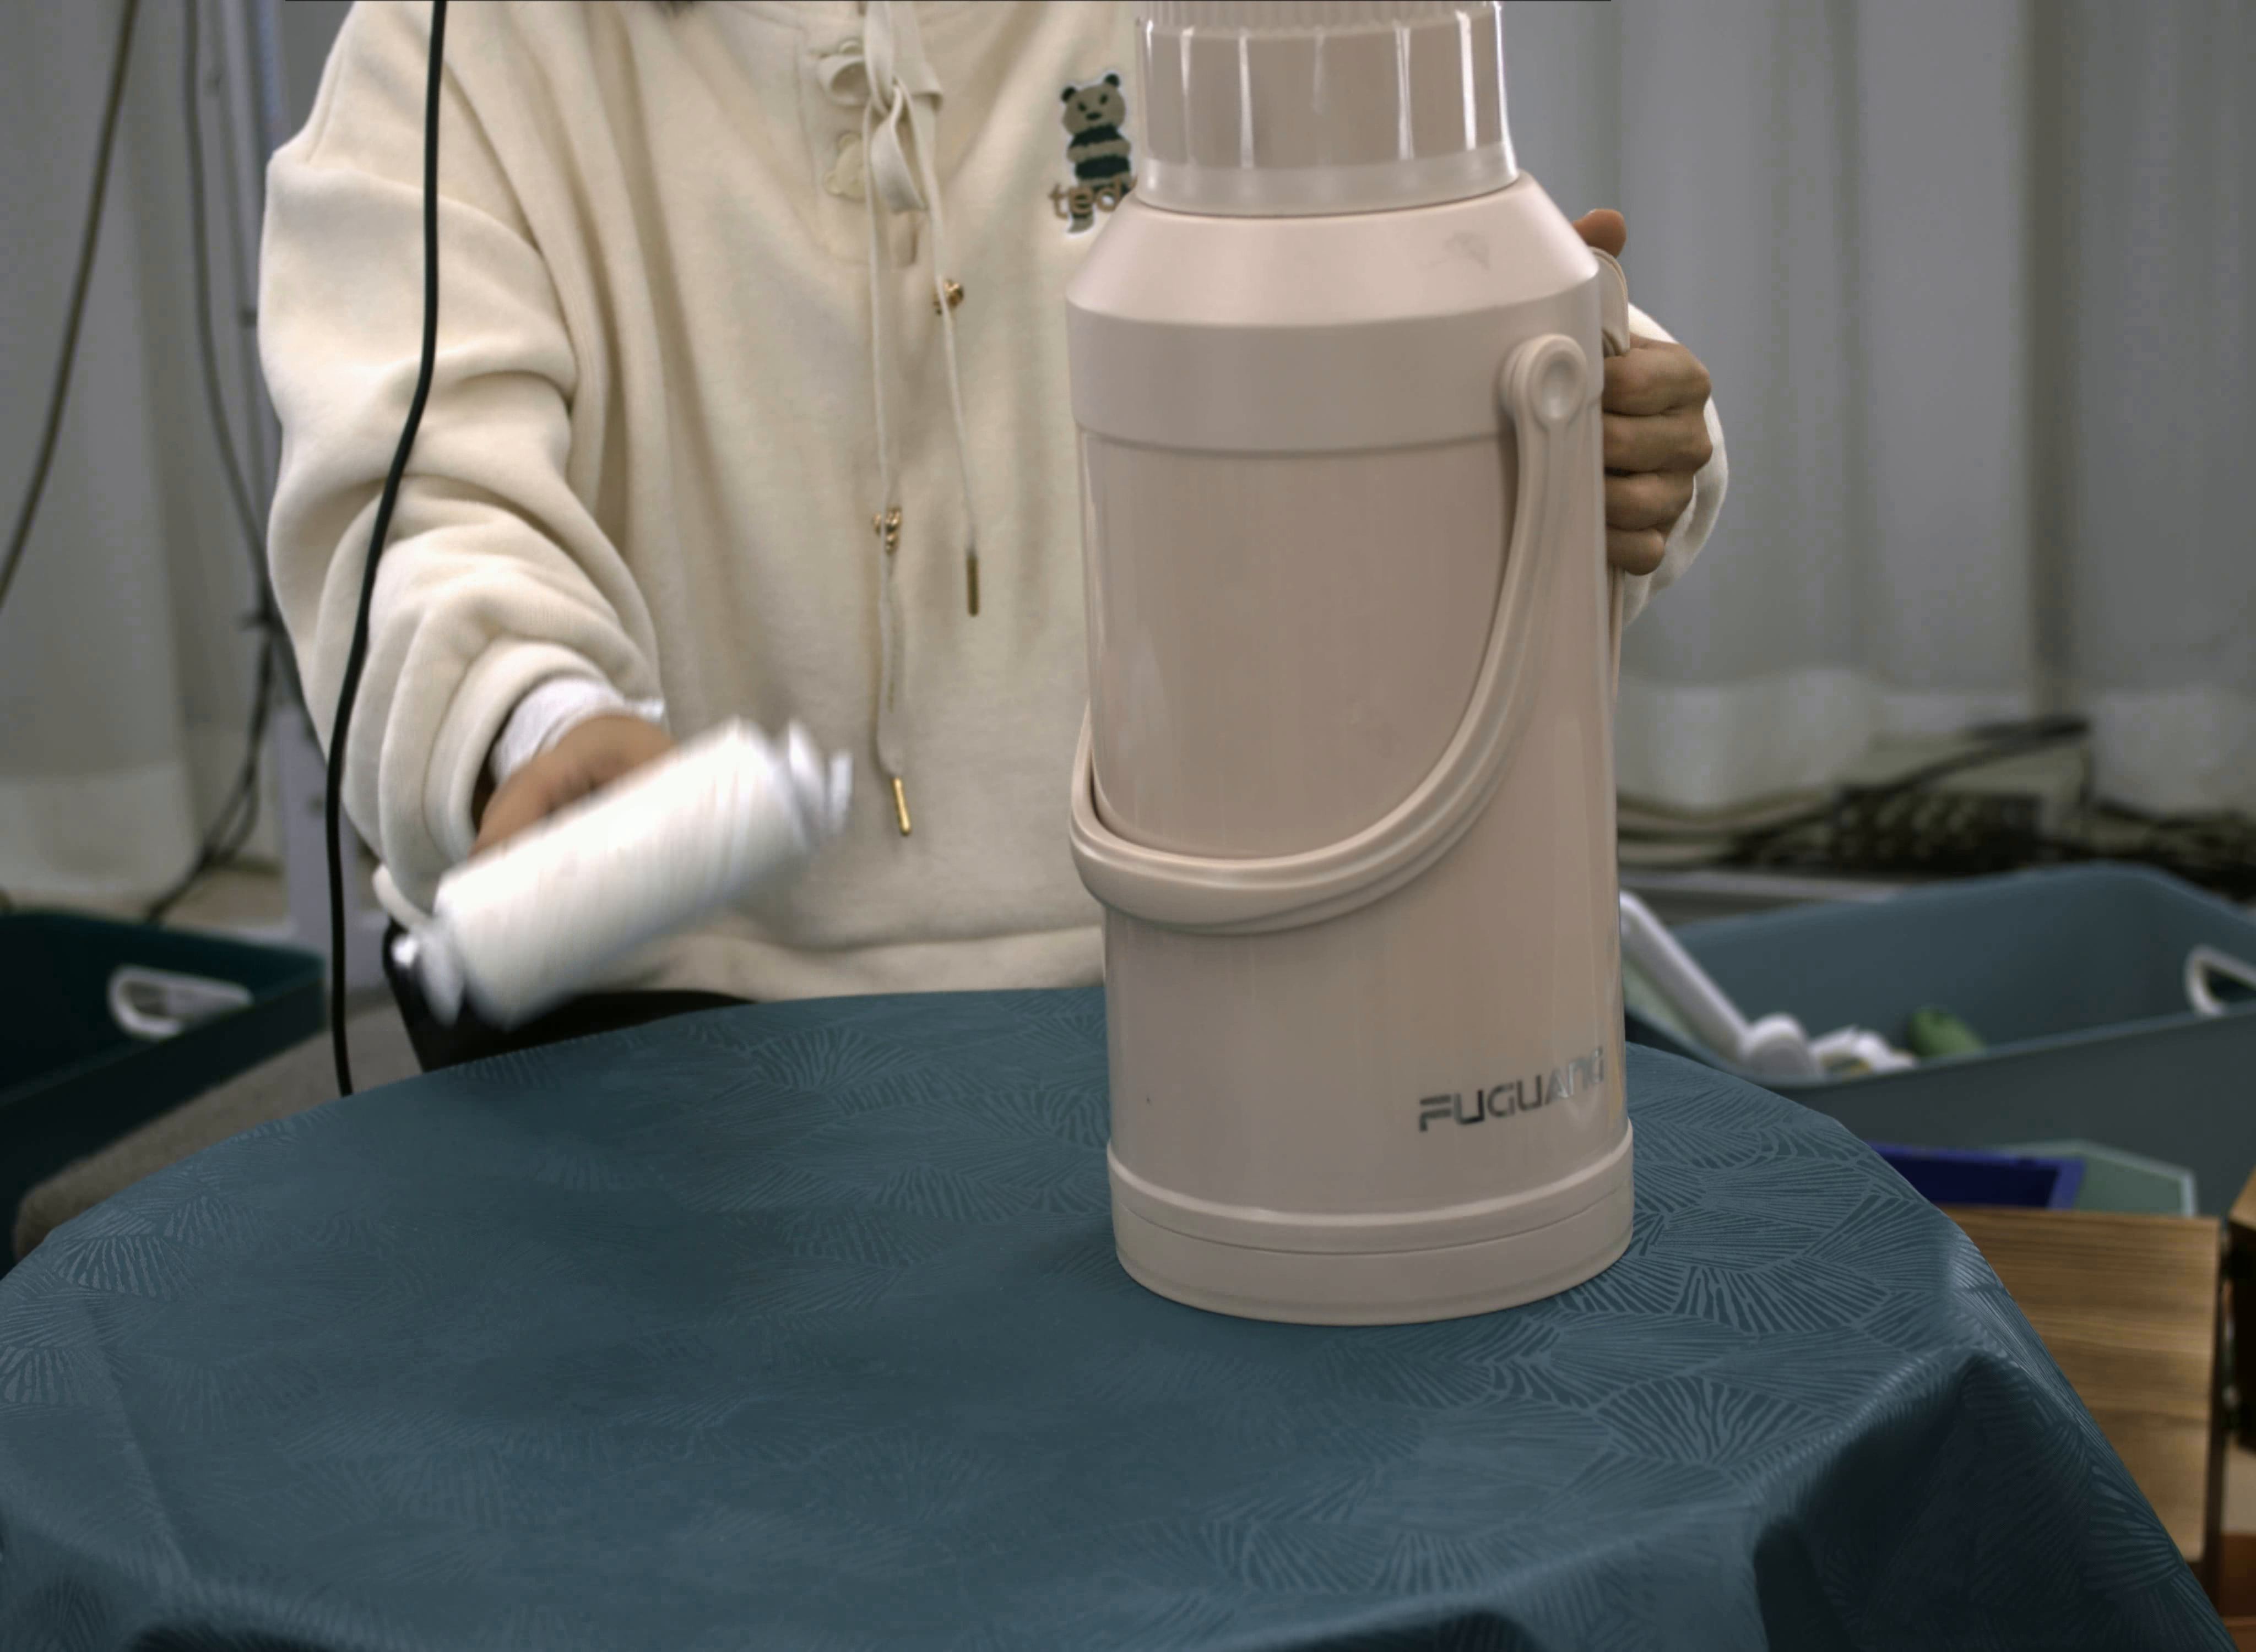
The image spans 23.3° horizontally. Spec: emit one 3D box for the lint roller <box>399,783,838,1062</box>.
[{"bbox_3d":[-0.159,0.011,1.662,0.132,0.050,0.182,-24,18,-2],"label":"lint roller"}]

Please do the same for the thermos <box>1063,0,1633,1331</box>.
[{"bbox_3d":[0.075,-0.068,1.623,0.206,0.405,0.176,-15,18,-42],"label":"thermos"}]
